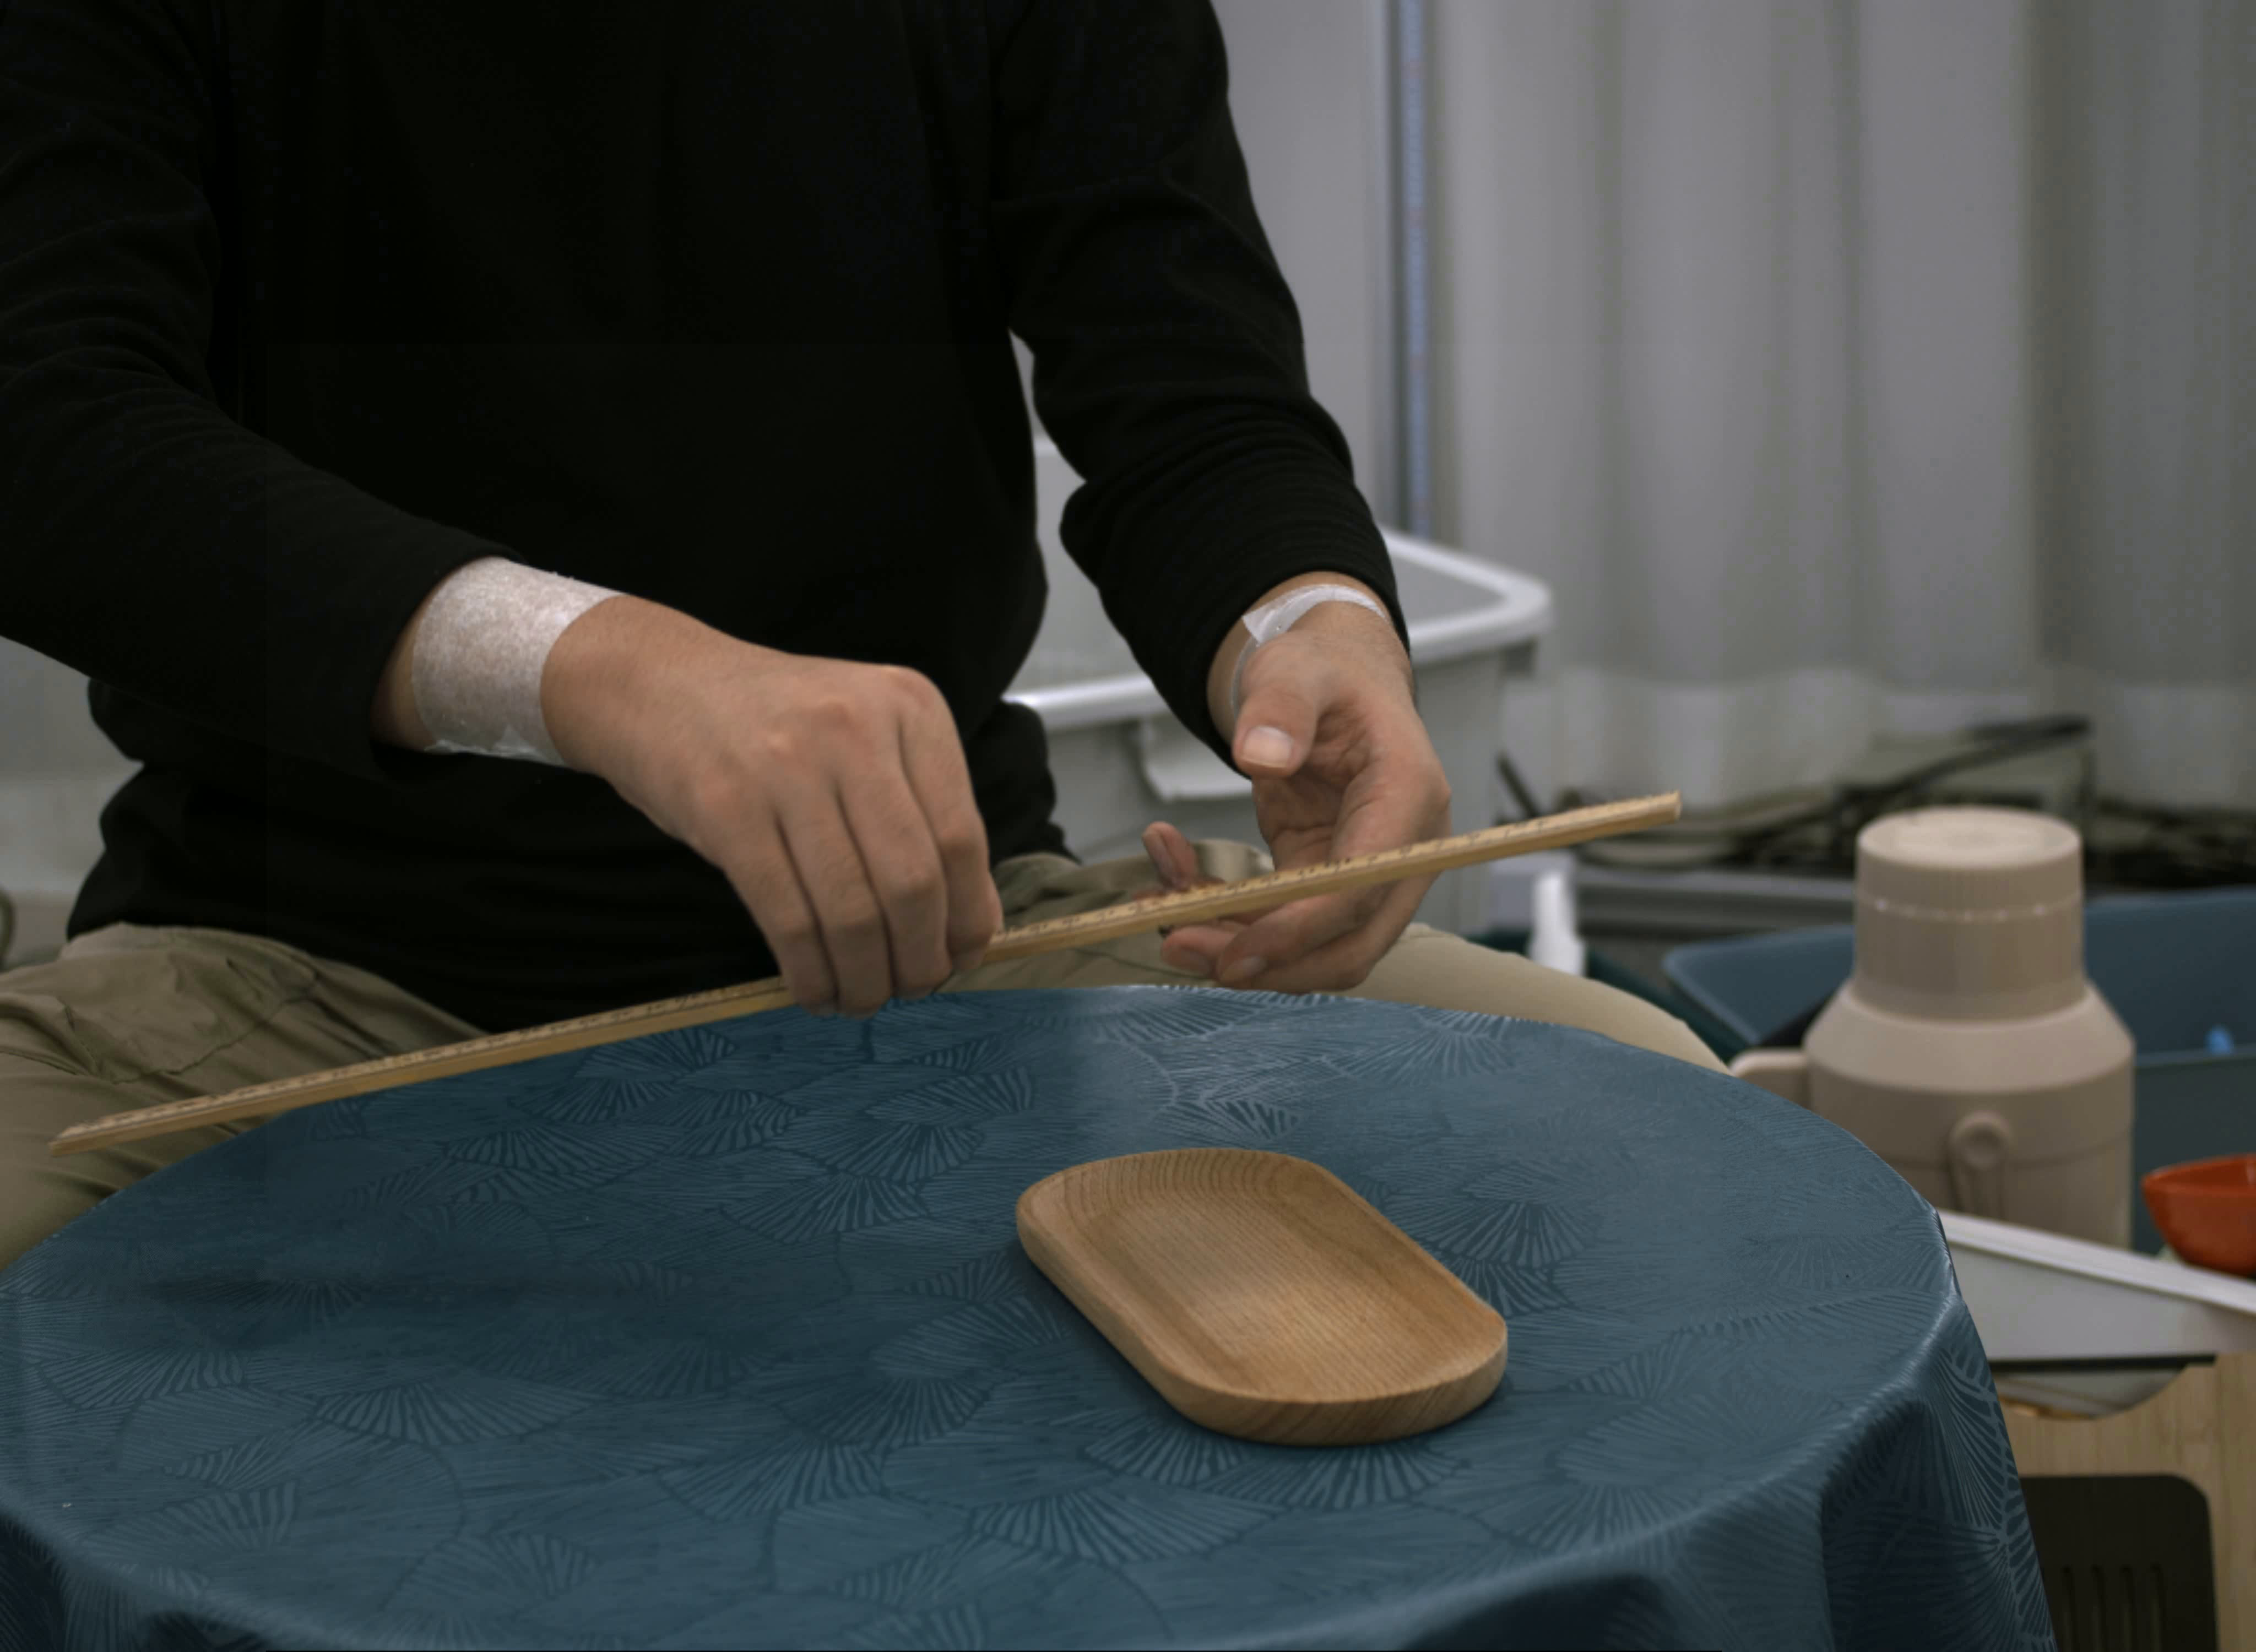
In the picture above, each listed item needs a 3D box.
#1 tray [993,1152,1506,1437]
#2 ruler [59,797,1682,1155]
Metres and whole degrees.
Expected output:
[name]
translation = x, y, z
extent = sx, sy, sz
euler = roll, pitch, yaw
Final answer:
[tray]
translation = 0.033, 0.135, 1.600
extent = 0.101, 0.020, 0.233
euler = -6, 13, -19
[ruler]
translation = -0.082, 0.045, 1.595
extent = 0.499, 0.006, 0.027
euler = -12, 7, 14
